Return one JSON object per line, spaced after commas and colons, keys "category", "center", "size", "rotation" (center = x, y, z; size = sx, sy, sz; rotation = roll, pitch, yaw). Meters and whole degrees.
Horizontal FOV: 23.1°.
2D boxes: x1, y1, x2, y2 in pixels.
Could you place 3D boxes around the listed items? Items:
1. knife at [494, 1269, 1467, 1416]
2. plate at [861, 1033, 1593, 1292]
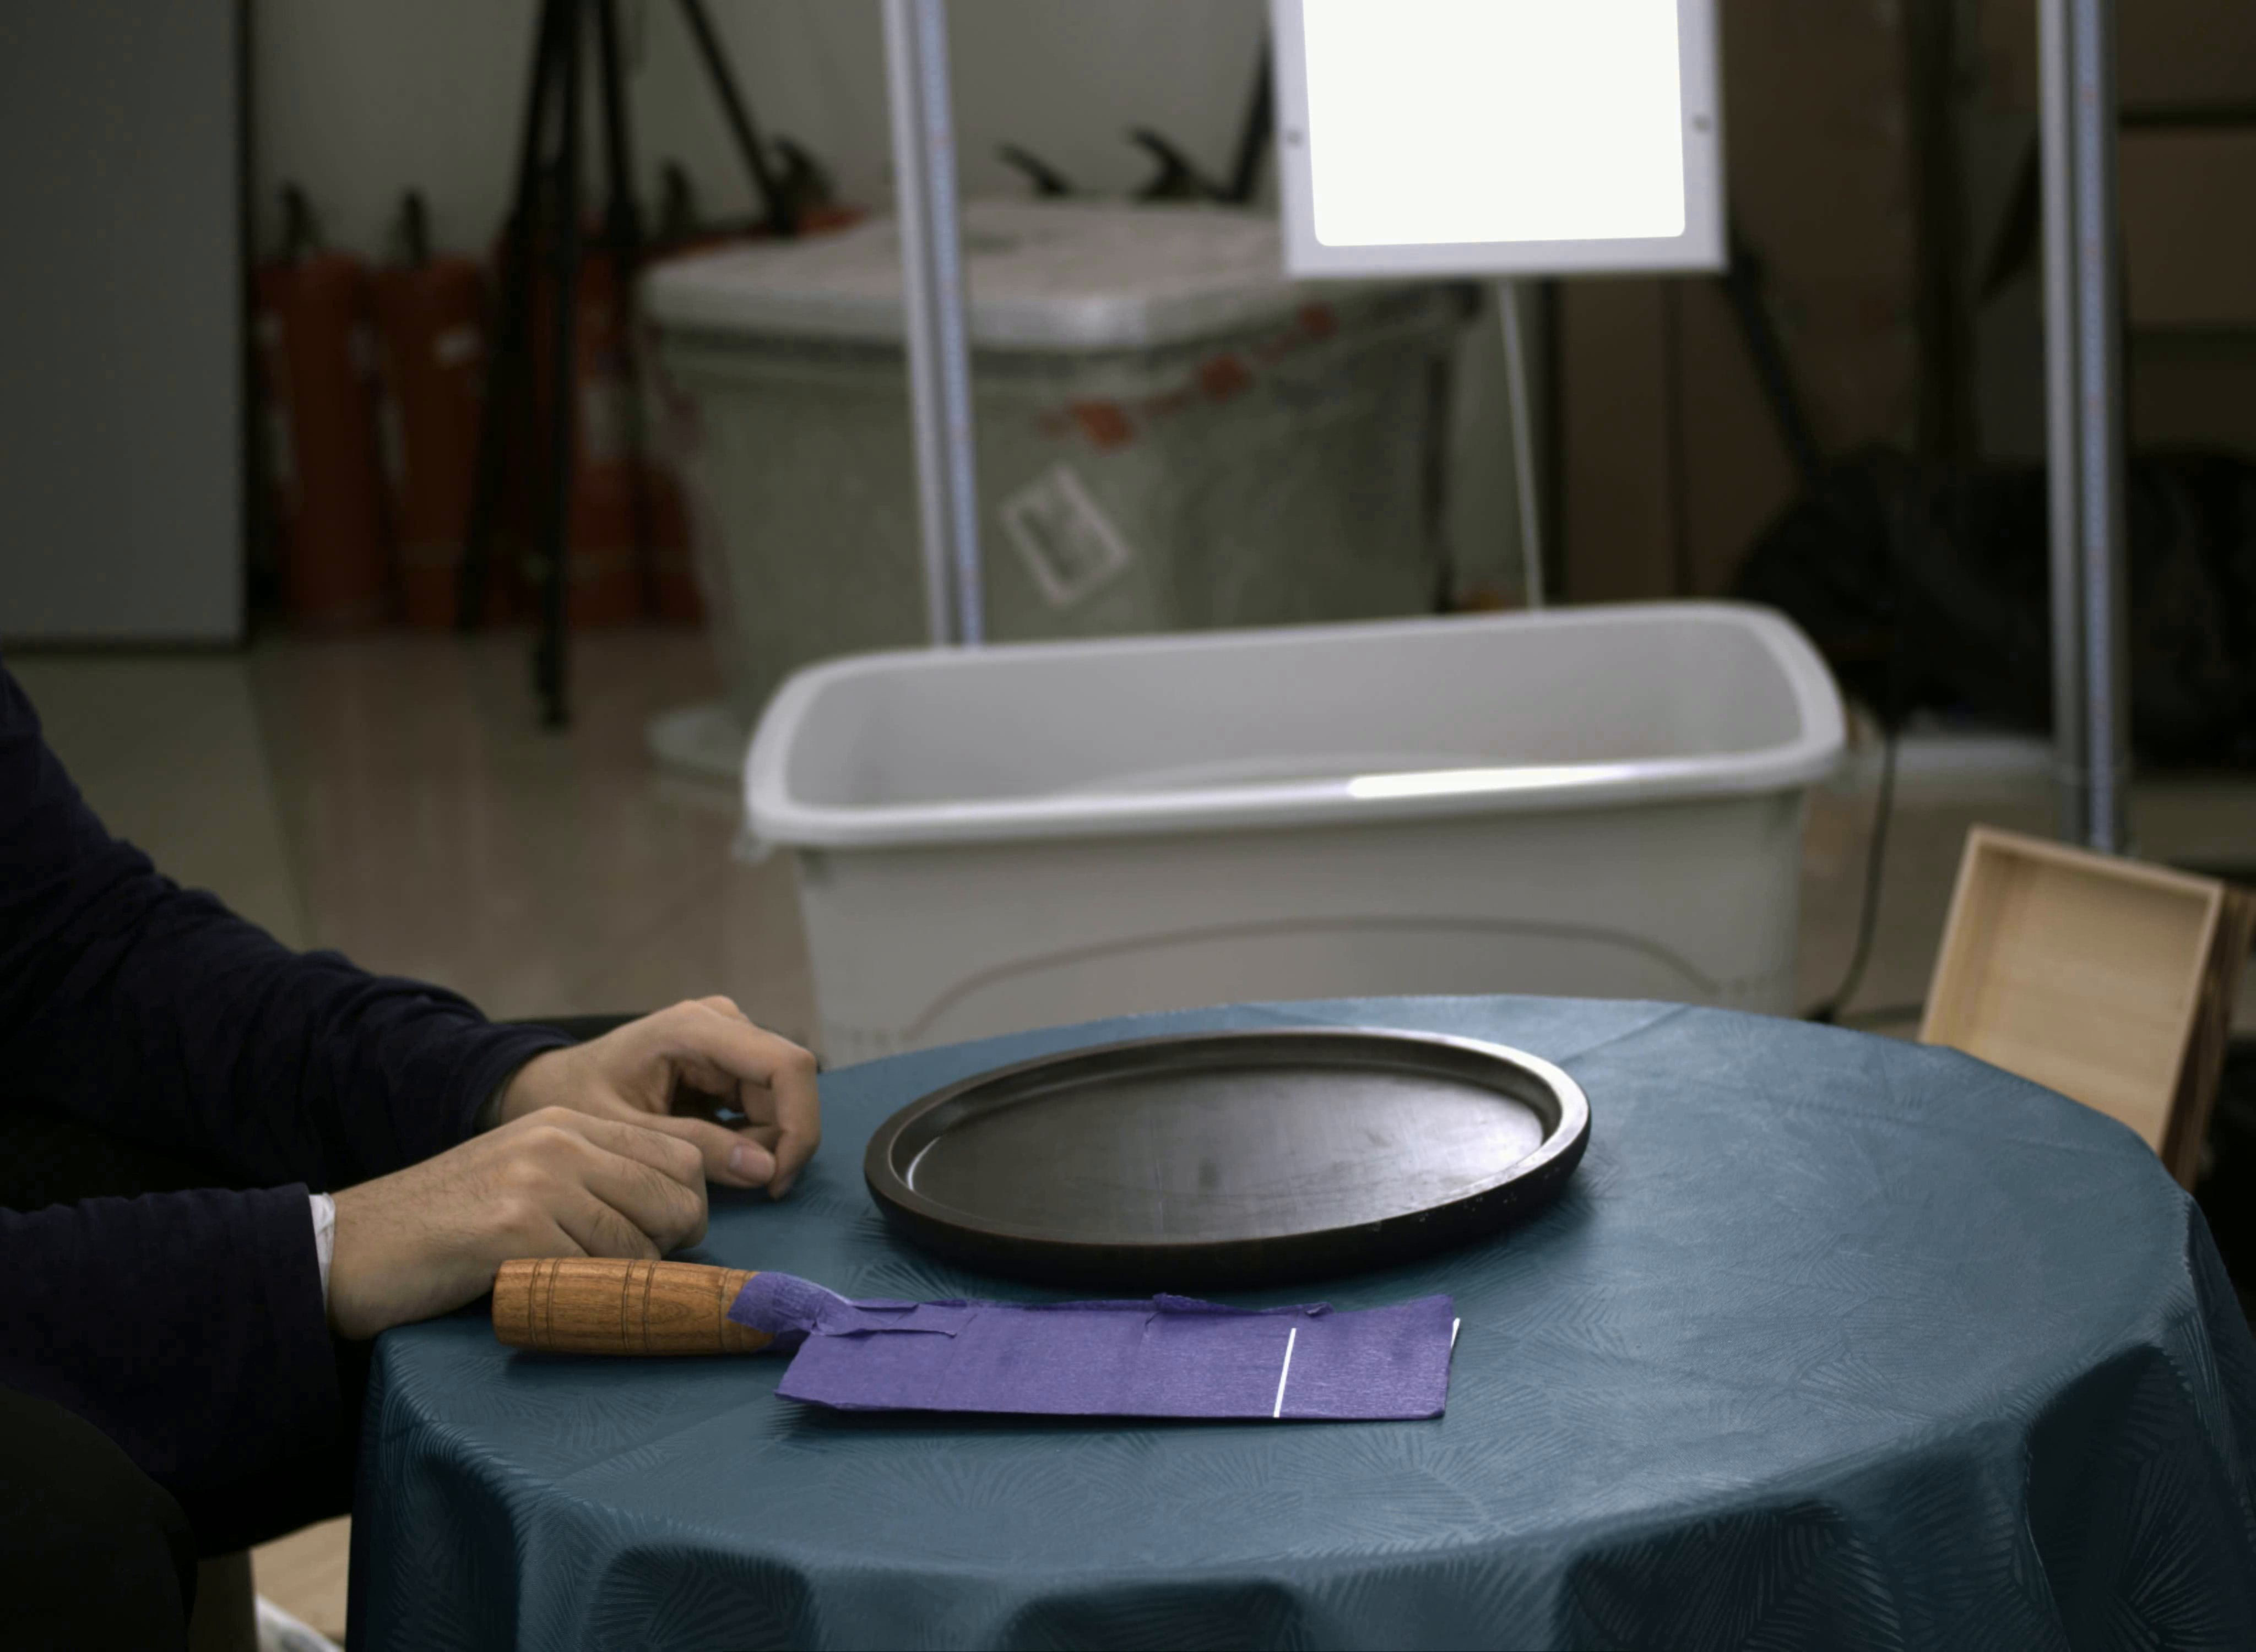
{"category": "knife", "center": [-0.052, 0.161, 1.725], "size": [0.317, 0.032, 0.103], "rotation": [-2, 14, 11]}
{"category": "plate", "center": [0.034, 0.113, 1.895], "size": [0.254, 0.029, 0.254], "rotation": [-5, 14, 0]}
